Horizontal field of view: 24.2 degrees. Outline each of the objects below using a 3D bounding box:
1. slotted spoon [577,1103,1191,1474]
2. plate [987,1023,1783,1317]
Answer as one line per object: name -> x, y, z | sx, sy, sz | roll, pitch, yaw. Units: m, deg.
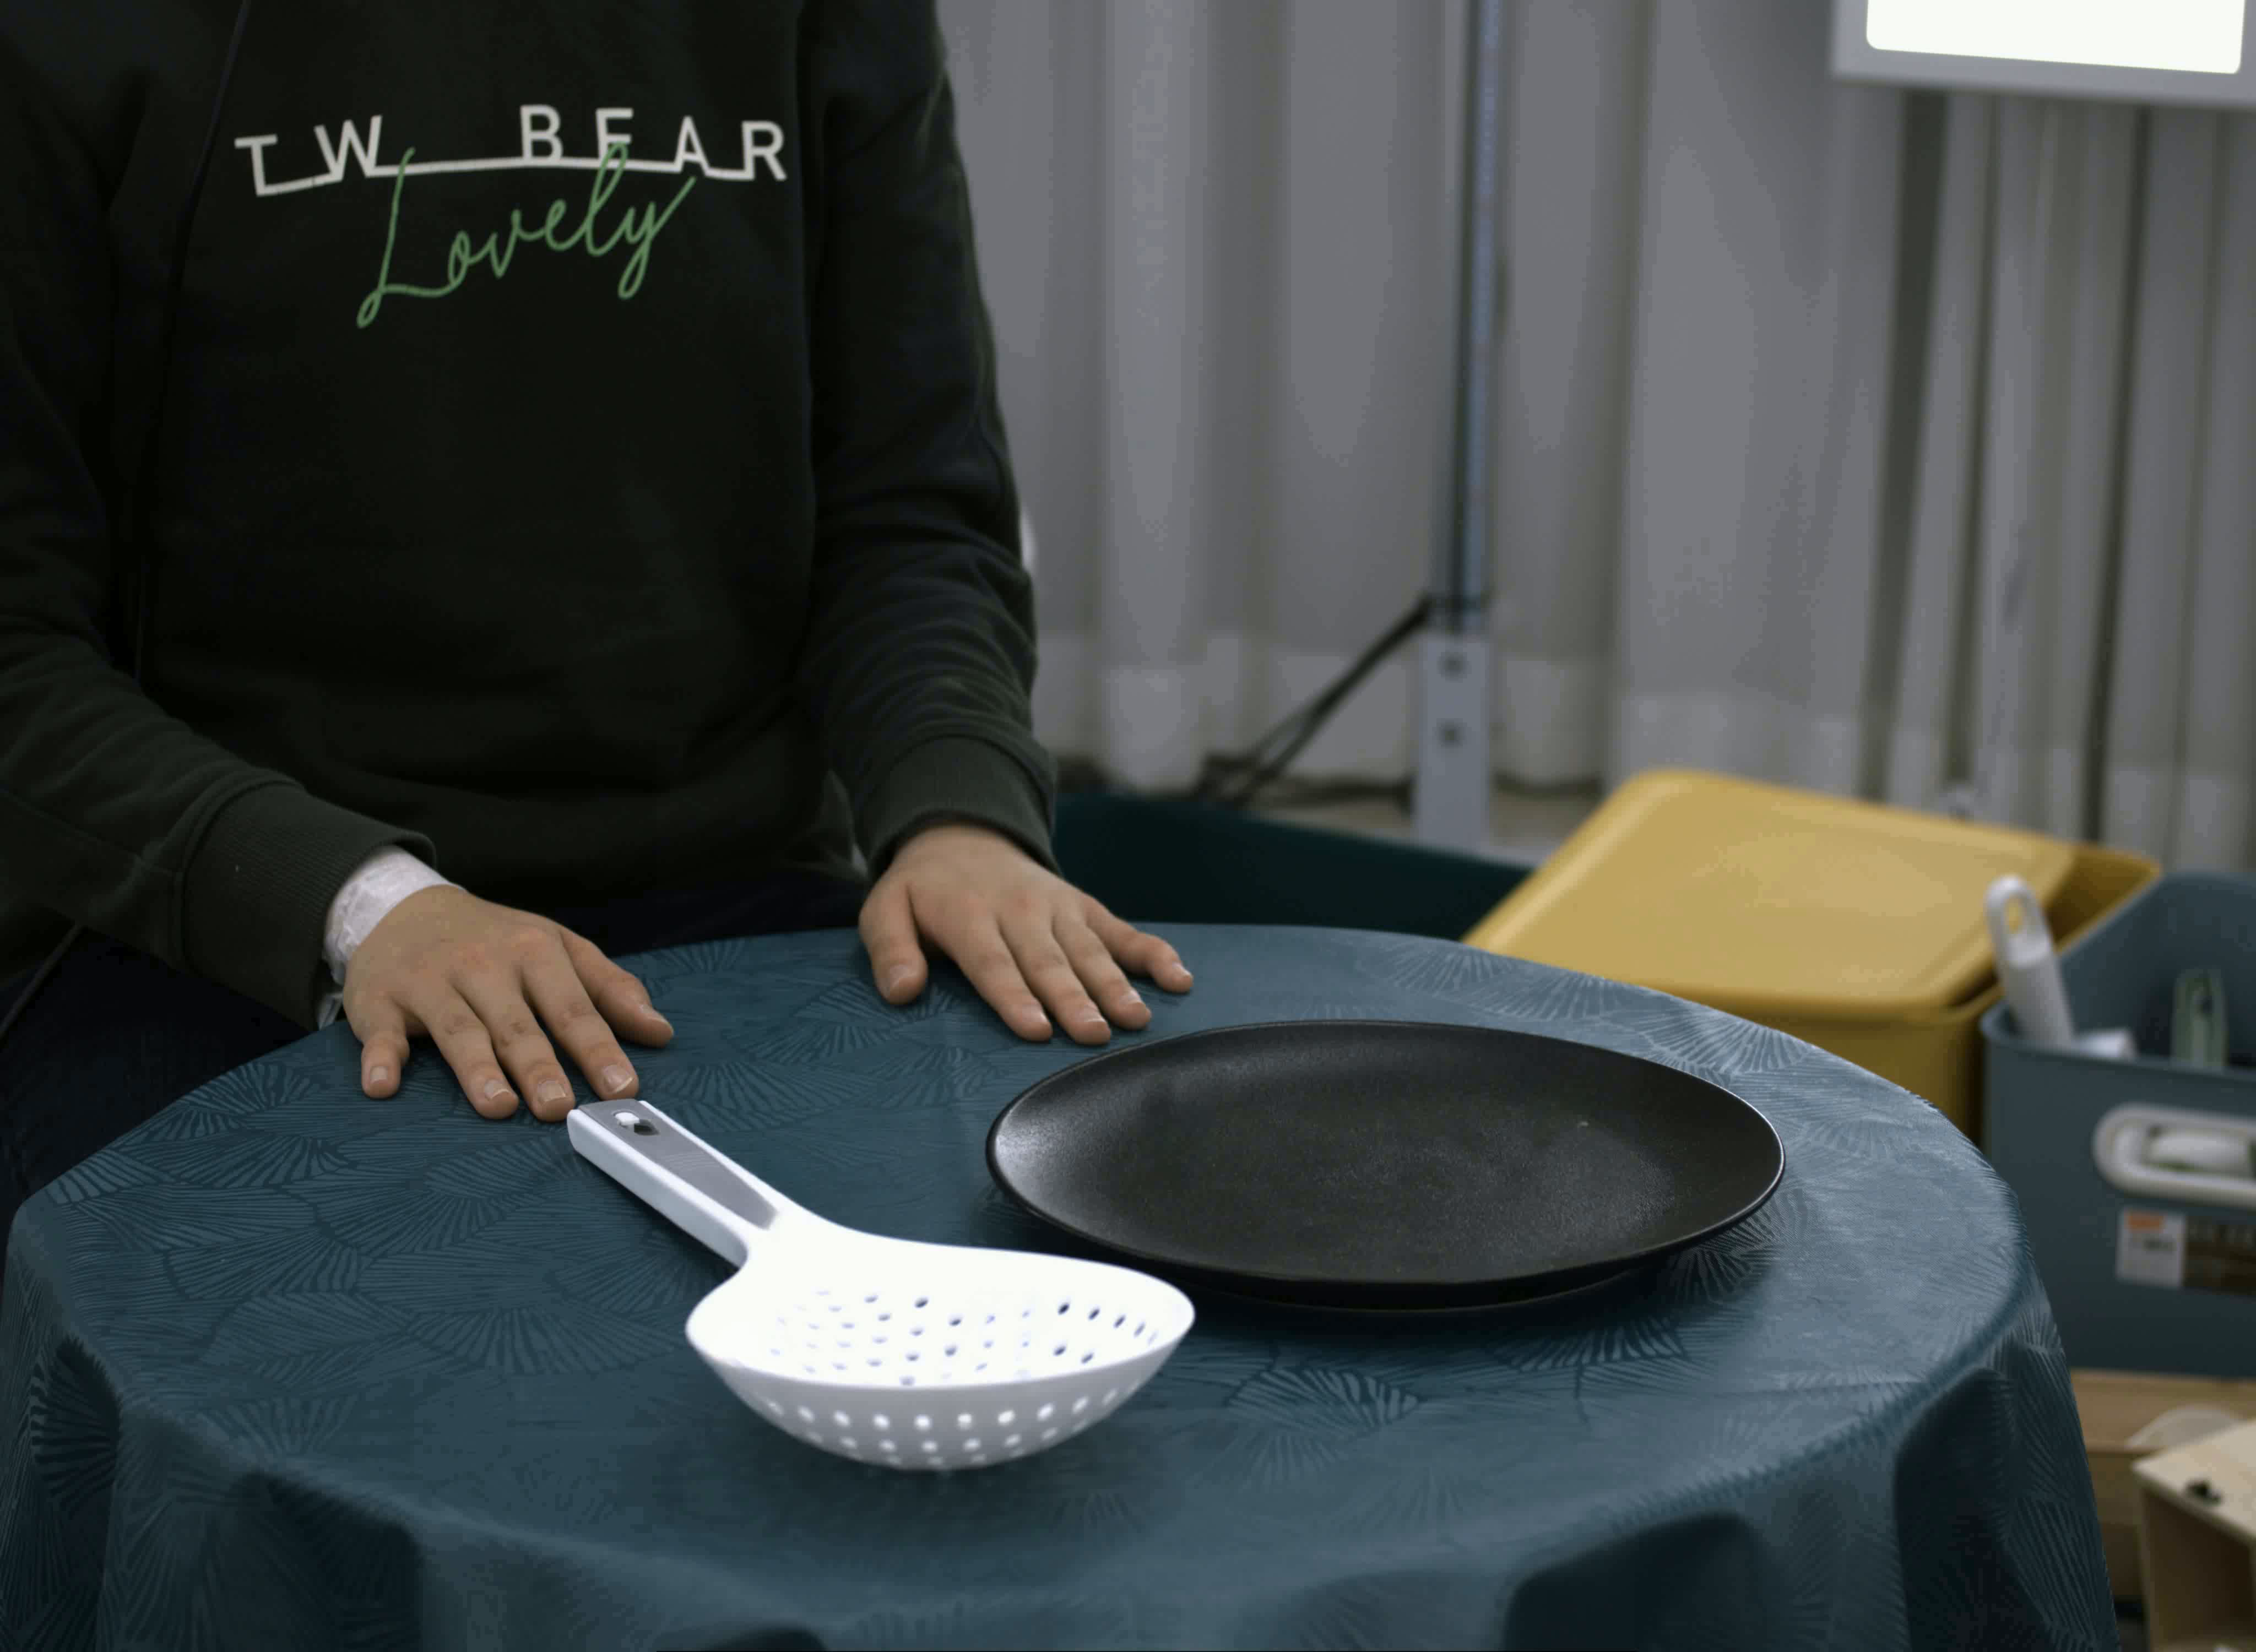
slotted spoon -> -0.094, 0.122, 1.505 | 0.136, 0.046, 0.345 | -4, 16, -24
plate -> 0.078, 0.106, 1.609 | 0.243, 0.023, 0.243 | 1, 16, 0
